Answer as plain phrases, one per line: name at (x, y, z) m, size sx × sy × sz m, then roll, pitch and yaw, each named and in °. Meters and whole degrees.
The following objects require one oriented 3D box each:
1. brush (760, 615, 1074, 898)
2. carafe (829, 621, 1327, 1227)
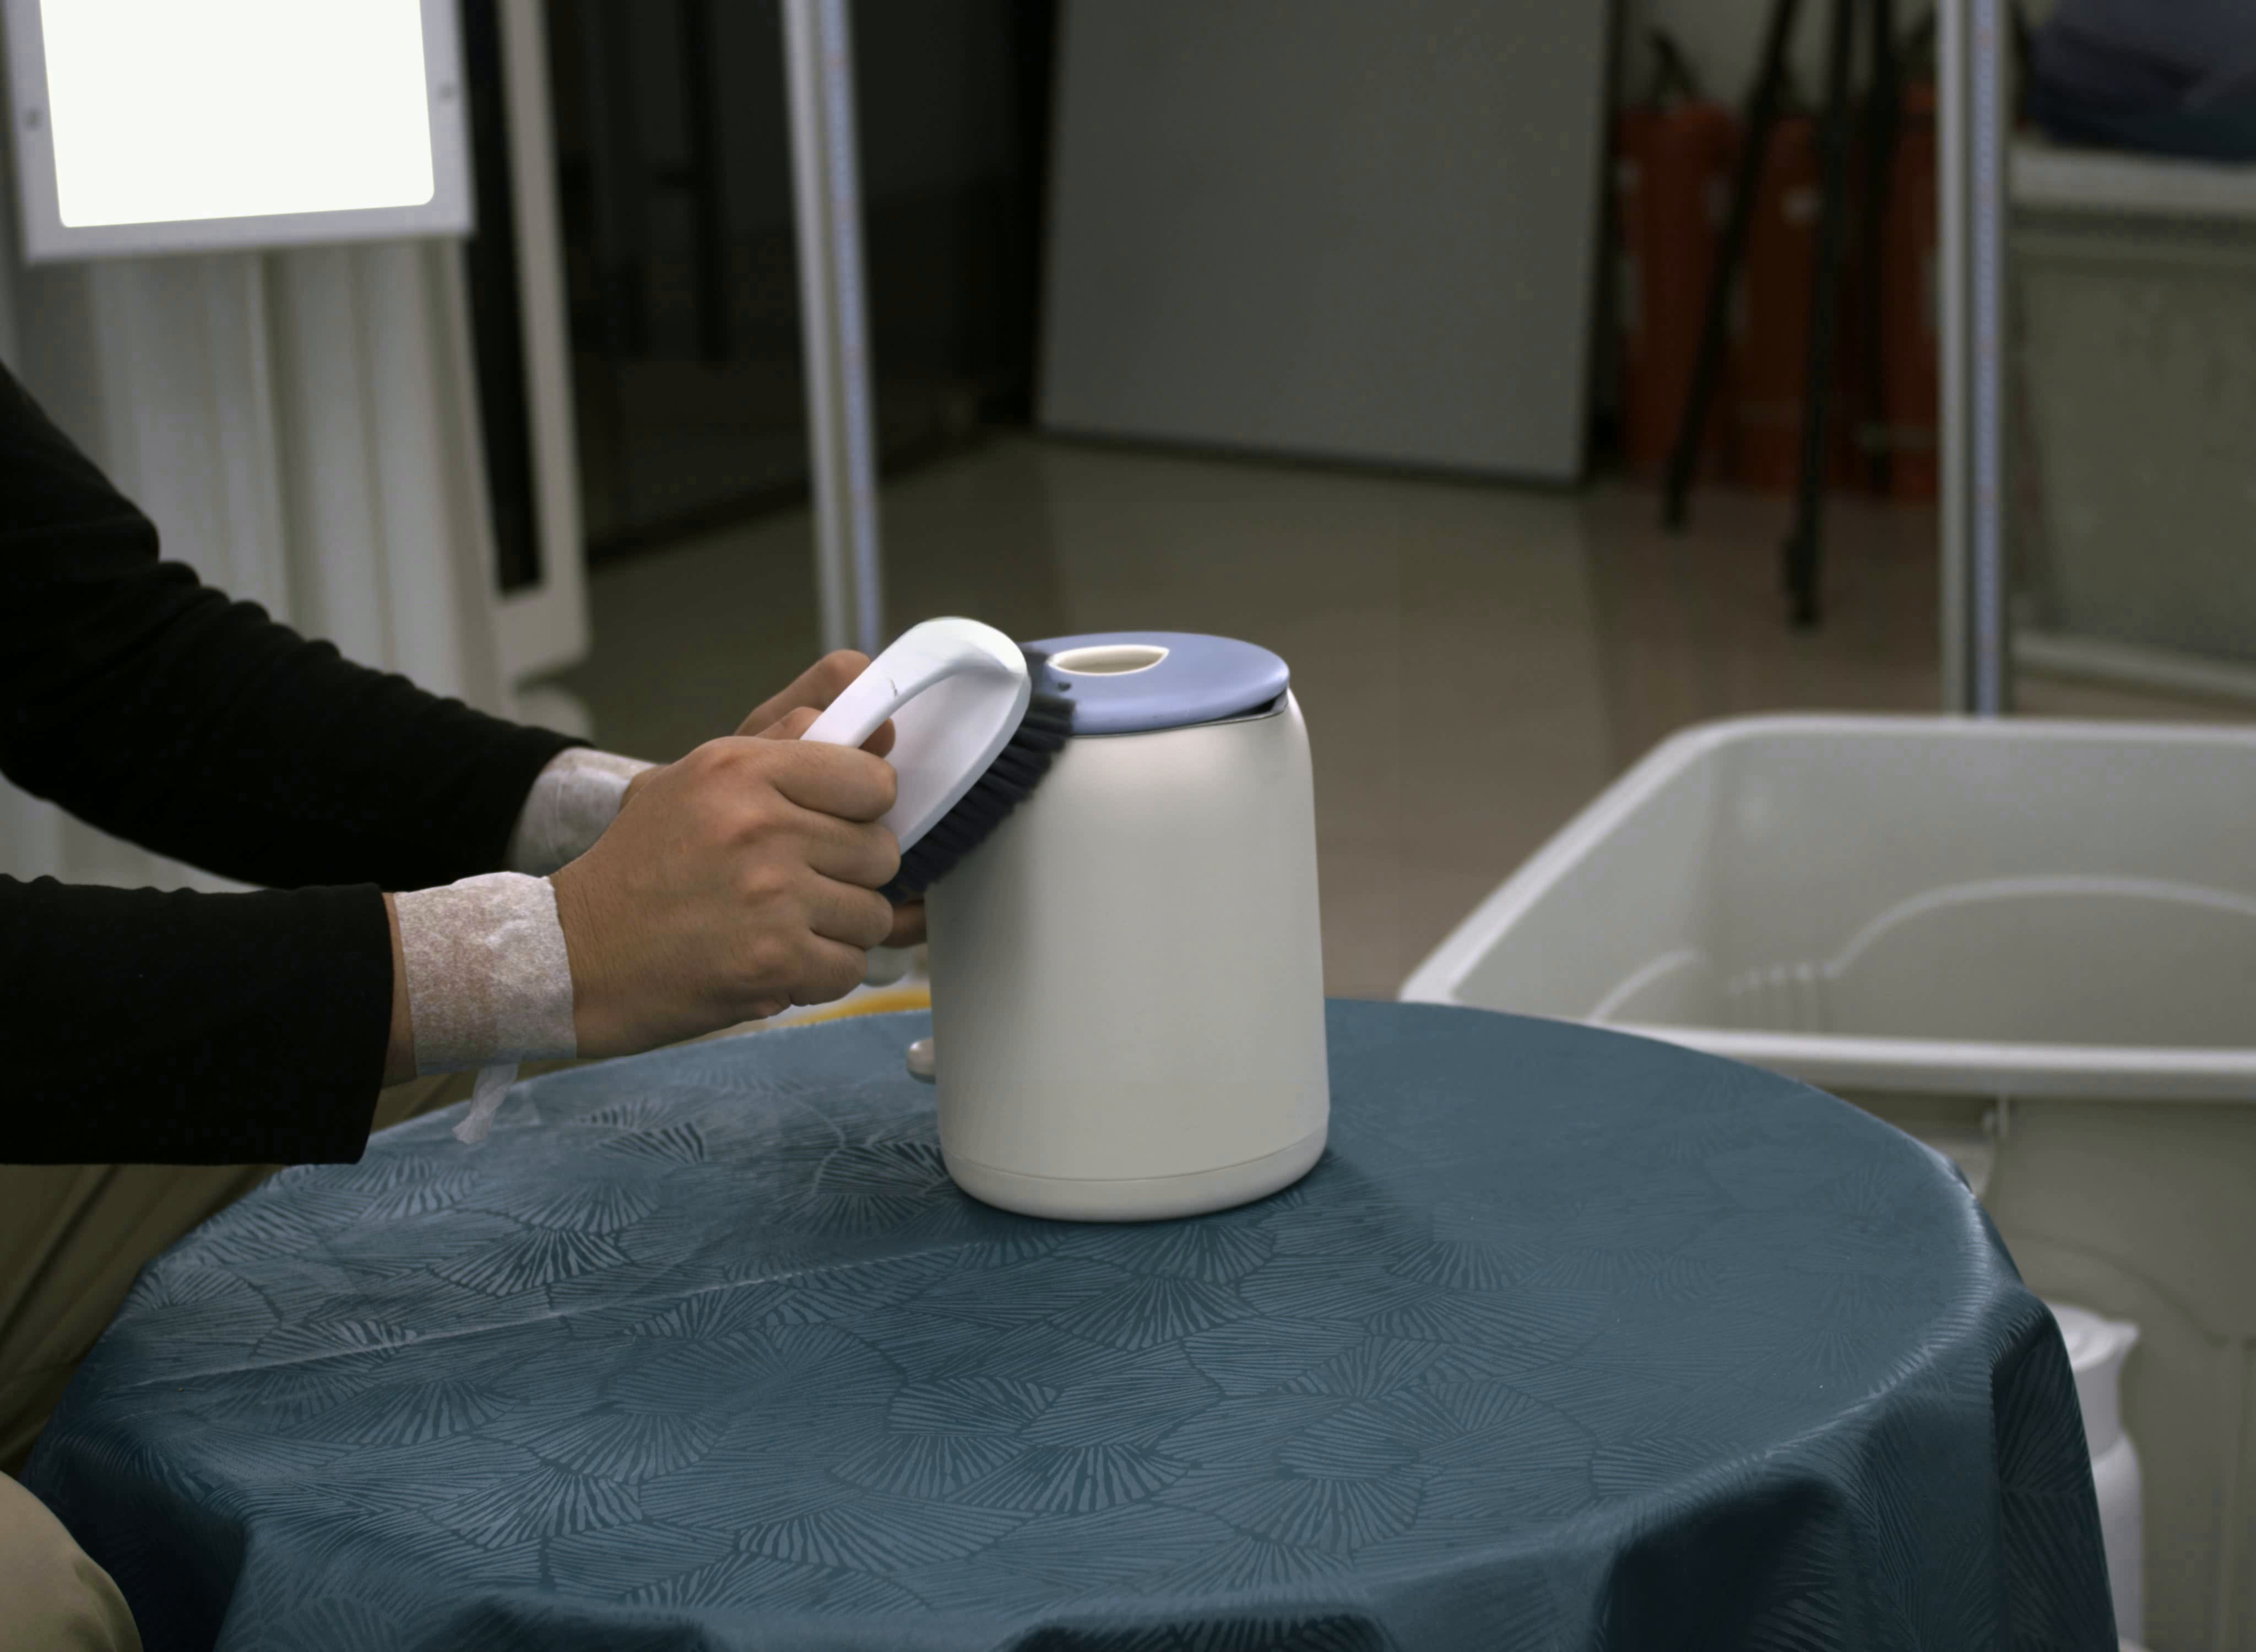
brush at (-0.073, -0.025, 1.687) m, size 0.071 × 0.099 × 0.051 m, roll 25°, pitch 27°, yaw -56°
carafe at (-0.022, 0.030, 1.789) m, size 0.192 × 0.184 × 0.130 m, roll 5°, pitch 15°, yaw 37°
